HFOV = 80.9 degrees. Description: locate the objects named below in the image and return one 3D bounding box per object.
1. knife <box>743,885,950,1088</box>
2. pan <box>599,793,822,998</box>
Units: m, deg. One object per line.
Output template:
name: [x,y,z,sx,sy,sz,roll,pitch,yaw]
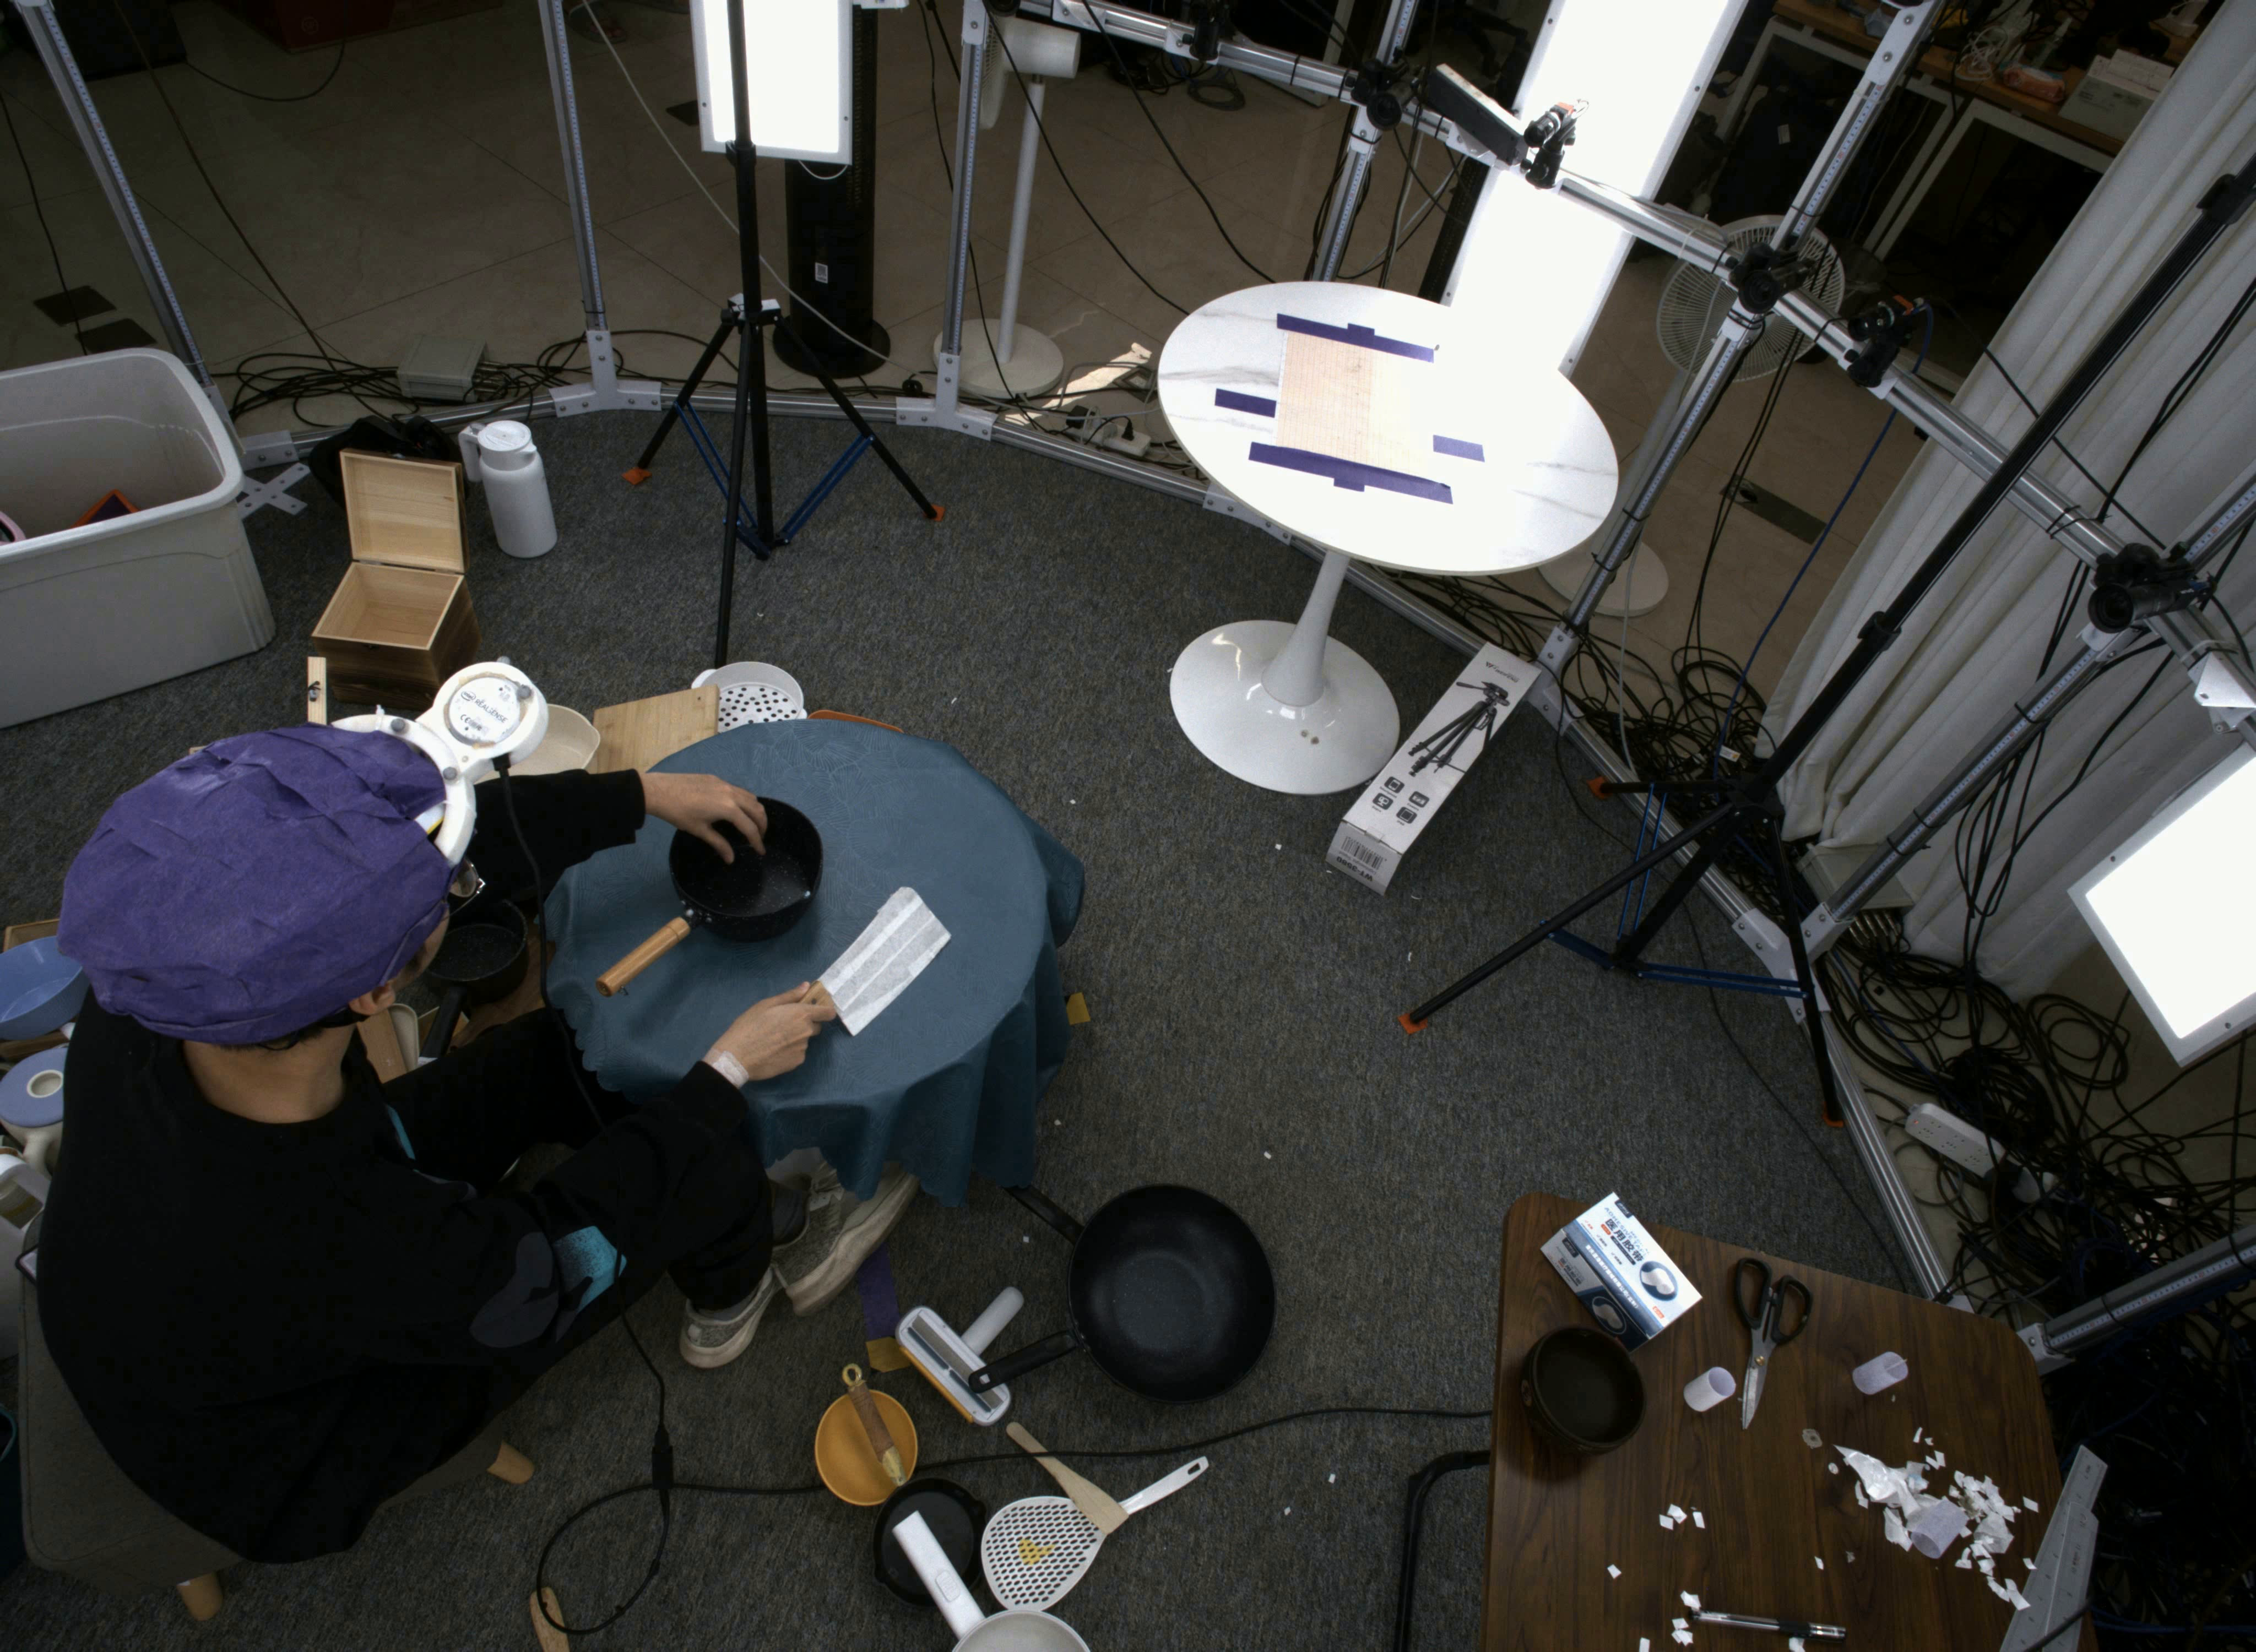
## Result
knife: [-0.335,0.190,1.546,0.315,0.021,0.117,-45,117,-36]
pan: [-0.506,0.102,1.544,0.204,0.110,0.341,29,51,7]
